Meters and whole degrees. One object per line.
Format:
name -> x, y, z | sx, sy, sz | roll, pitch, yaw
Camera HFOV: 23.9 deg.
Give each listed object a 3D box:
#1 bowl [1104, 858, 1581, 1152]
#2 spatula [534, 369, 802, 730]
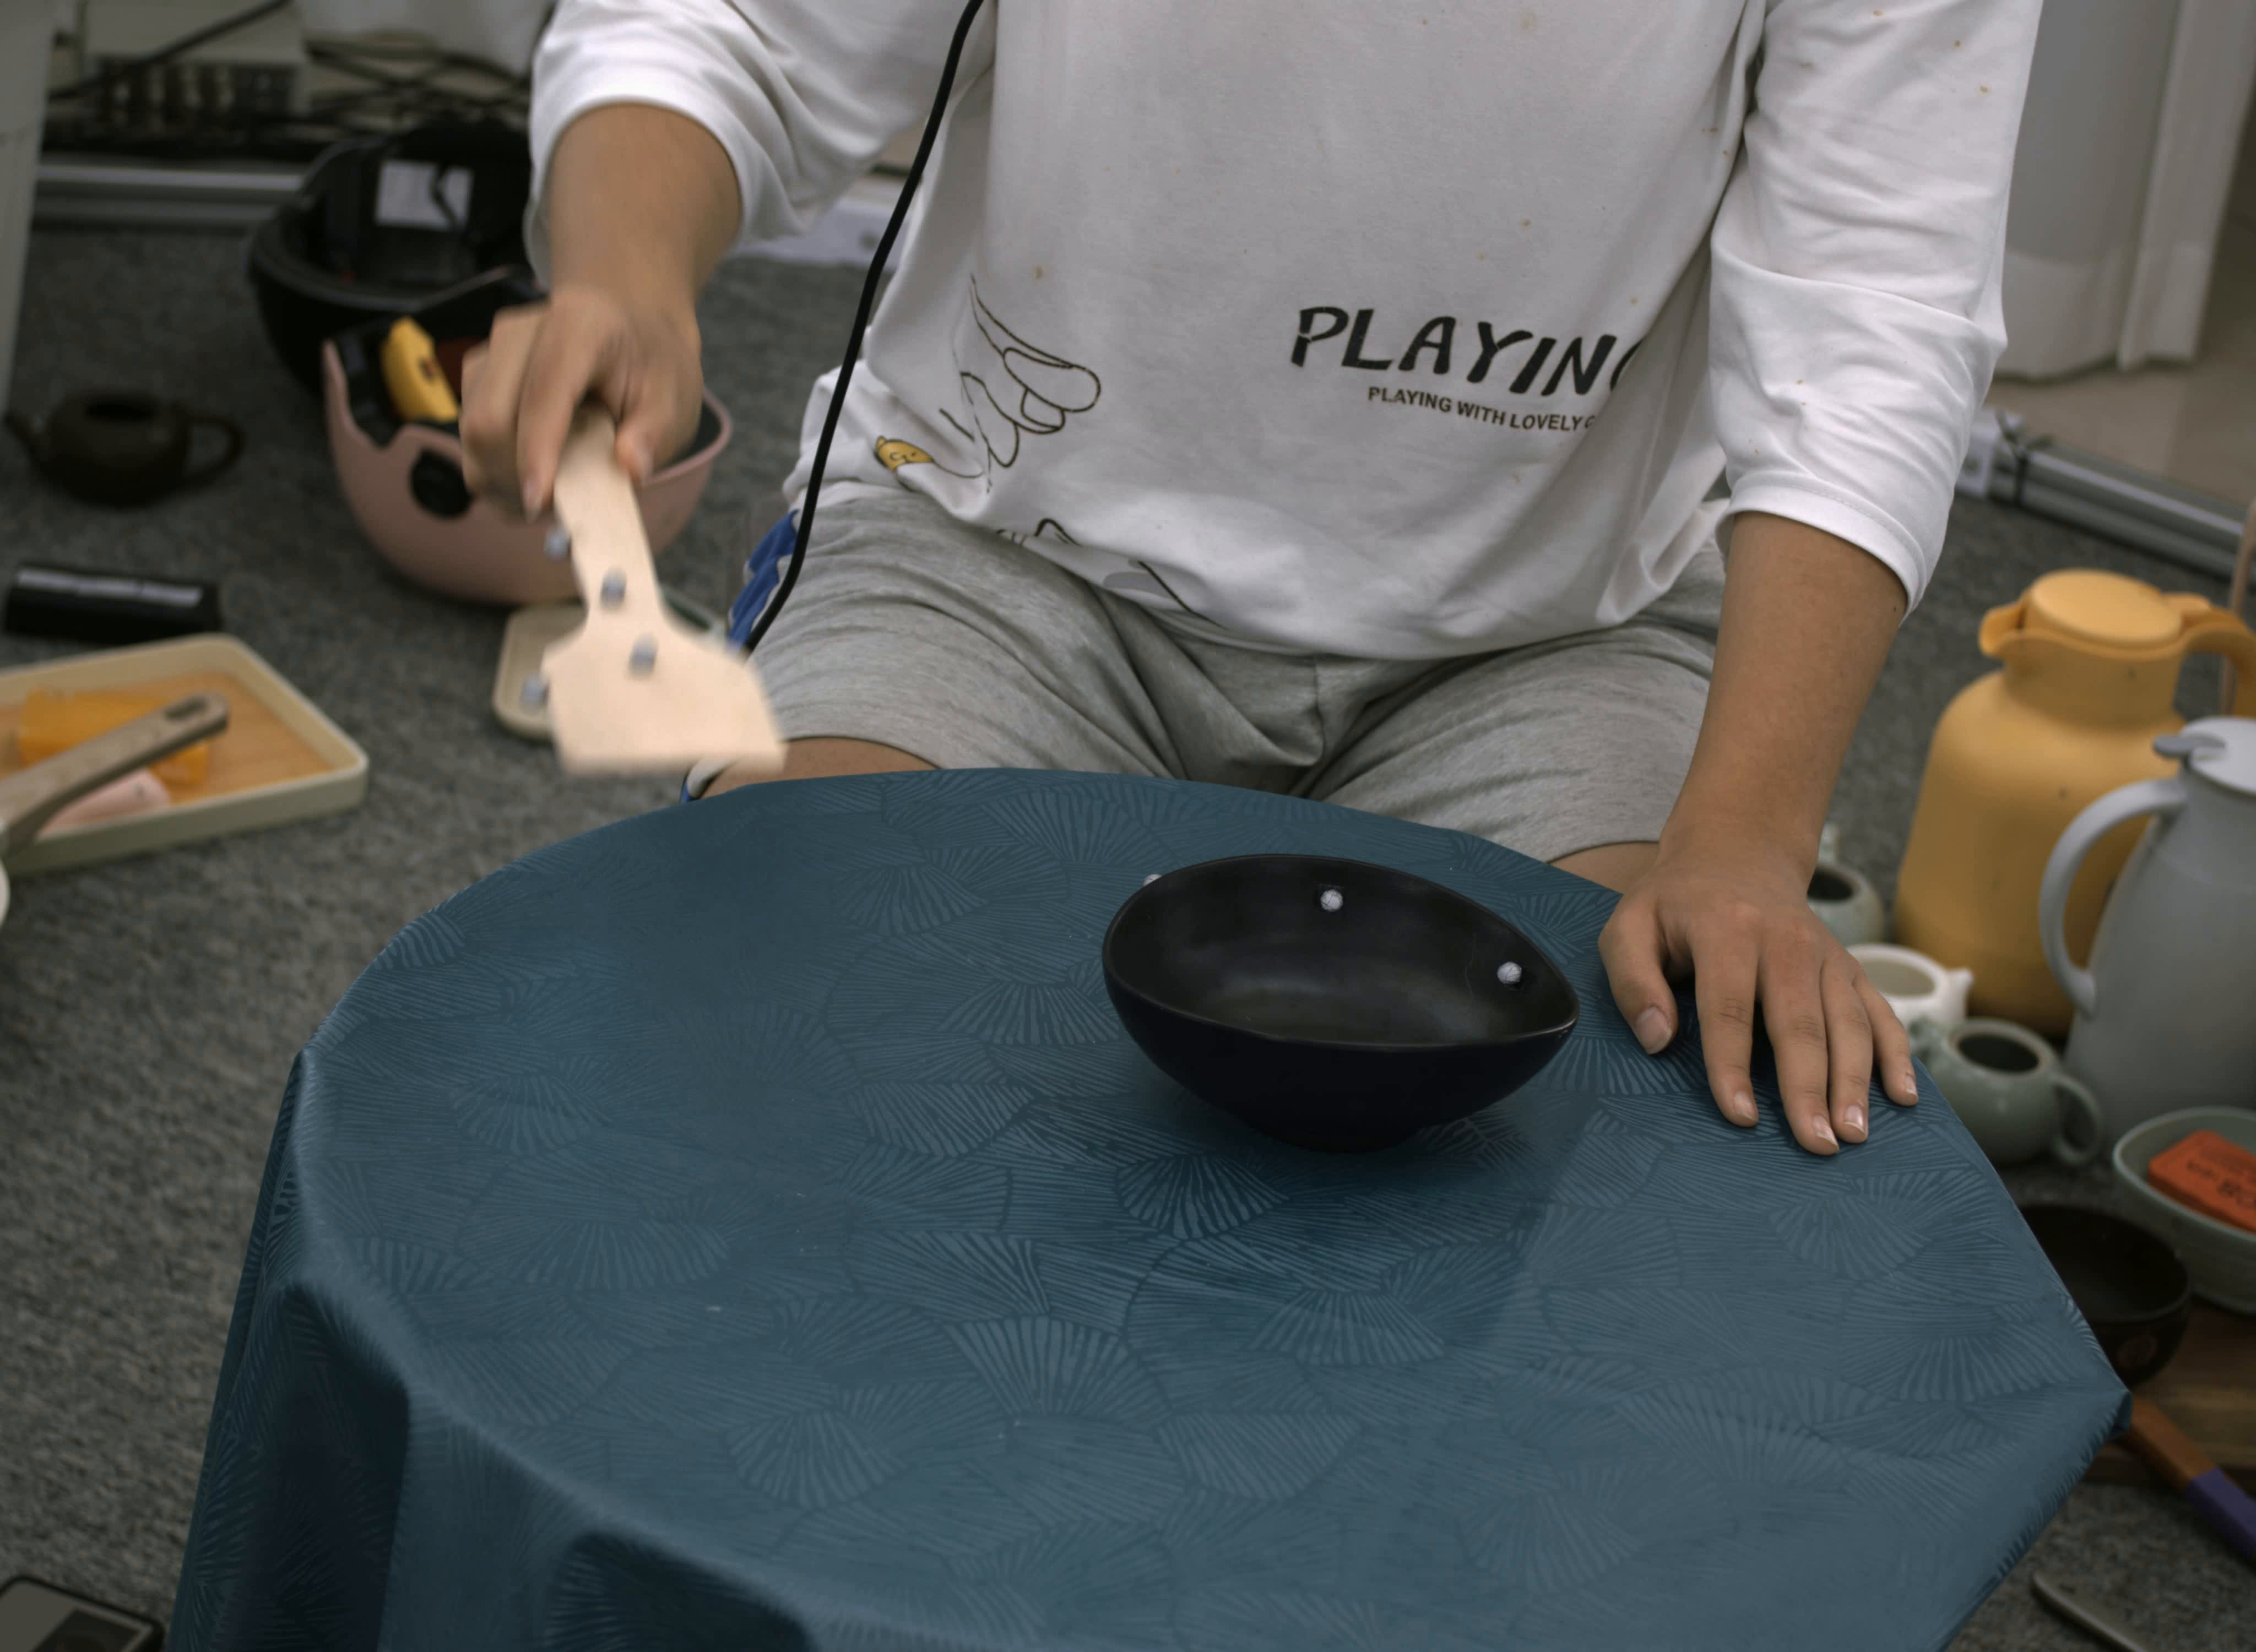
bowl -> 0.072, 0.069, 1.860 | 0.169, 0.066, 0.138 | 3, 26, -12
spatula -> -0.169, -0.095, 1.786 | 0.072, 0.010, 0.295 | -2, 27, -14
